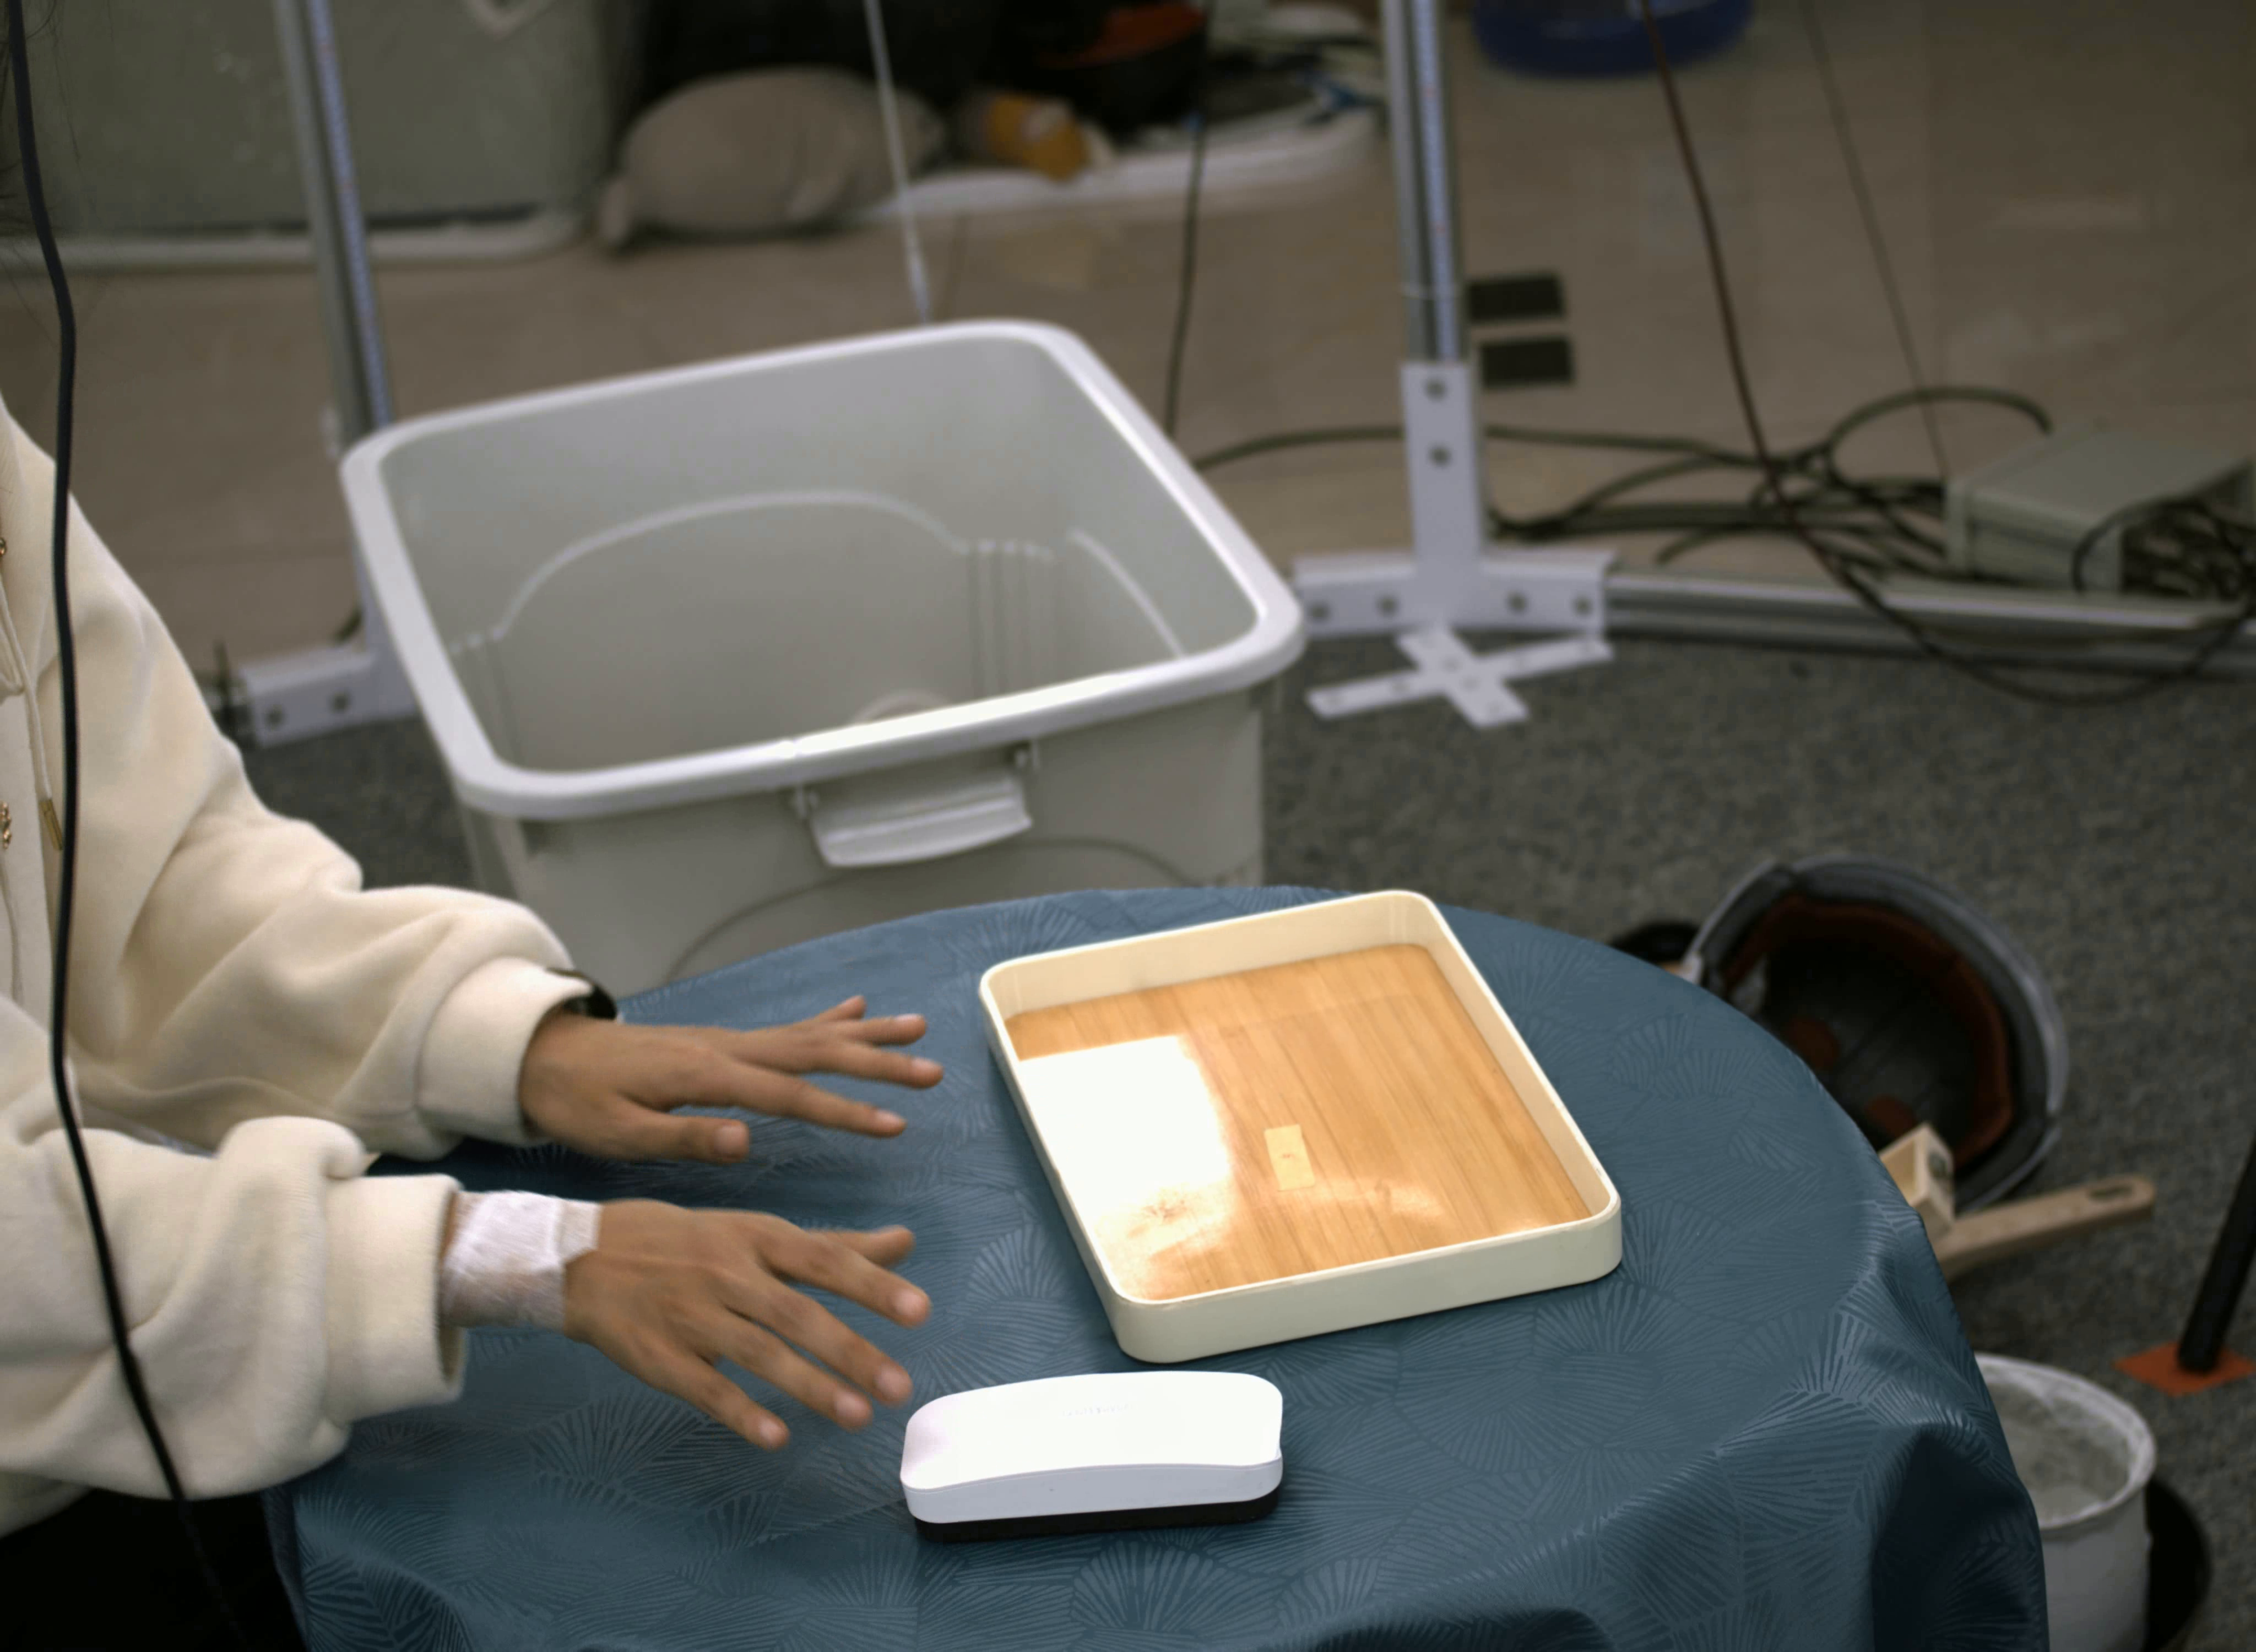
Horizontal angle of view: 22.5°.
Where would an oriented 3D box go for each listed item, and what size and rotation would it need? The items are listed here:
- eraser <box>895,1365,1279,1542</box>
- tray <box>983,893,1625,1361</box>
[{"bbox_3d":[-0.013,0.215,1.951,0.131,0.035,0.062,-3,26,5],"label":"eraser"},{"bbox_3d":[0.062,0.110,2.163,0.191,0.028,0.296,-10,25,-8],"label":"tray"}]
